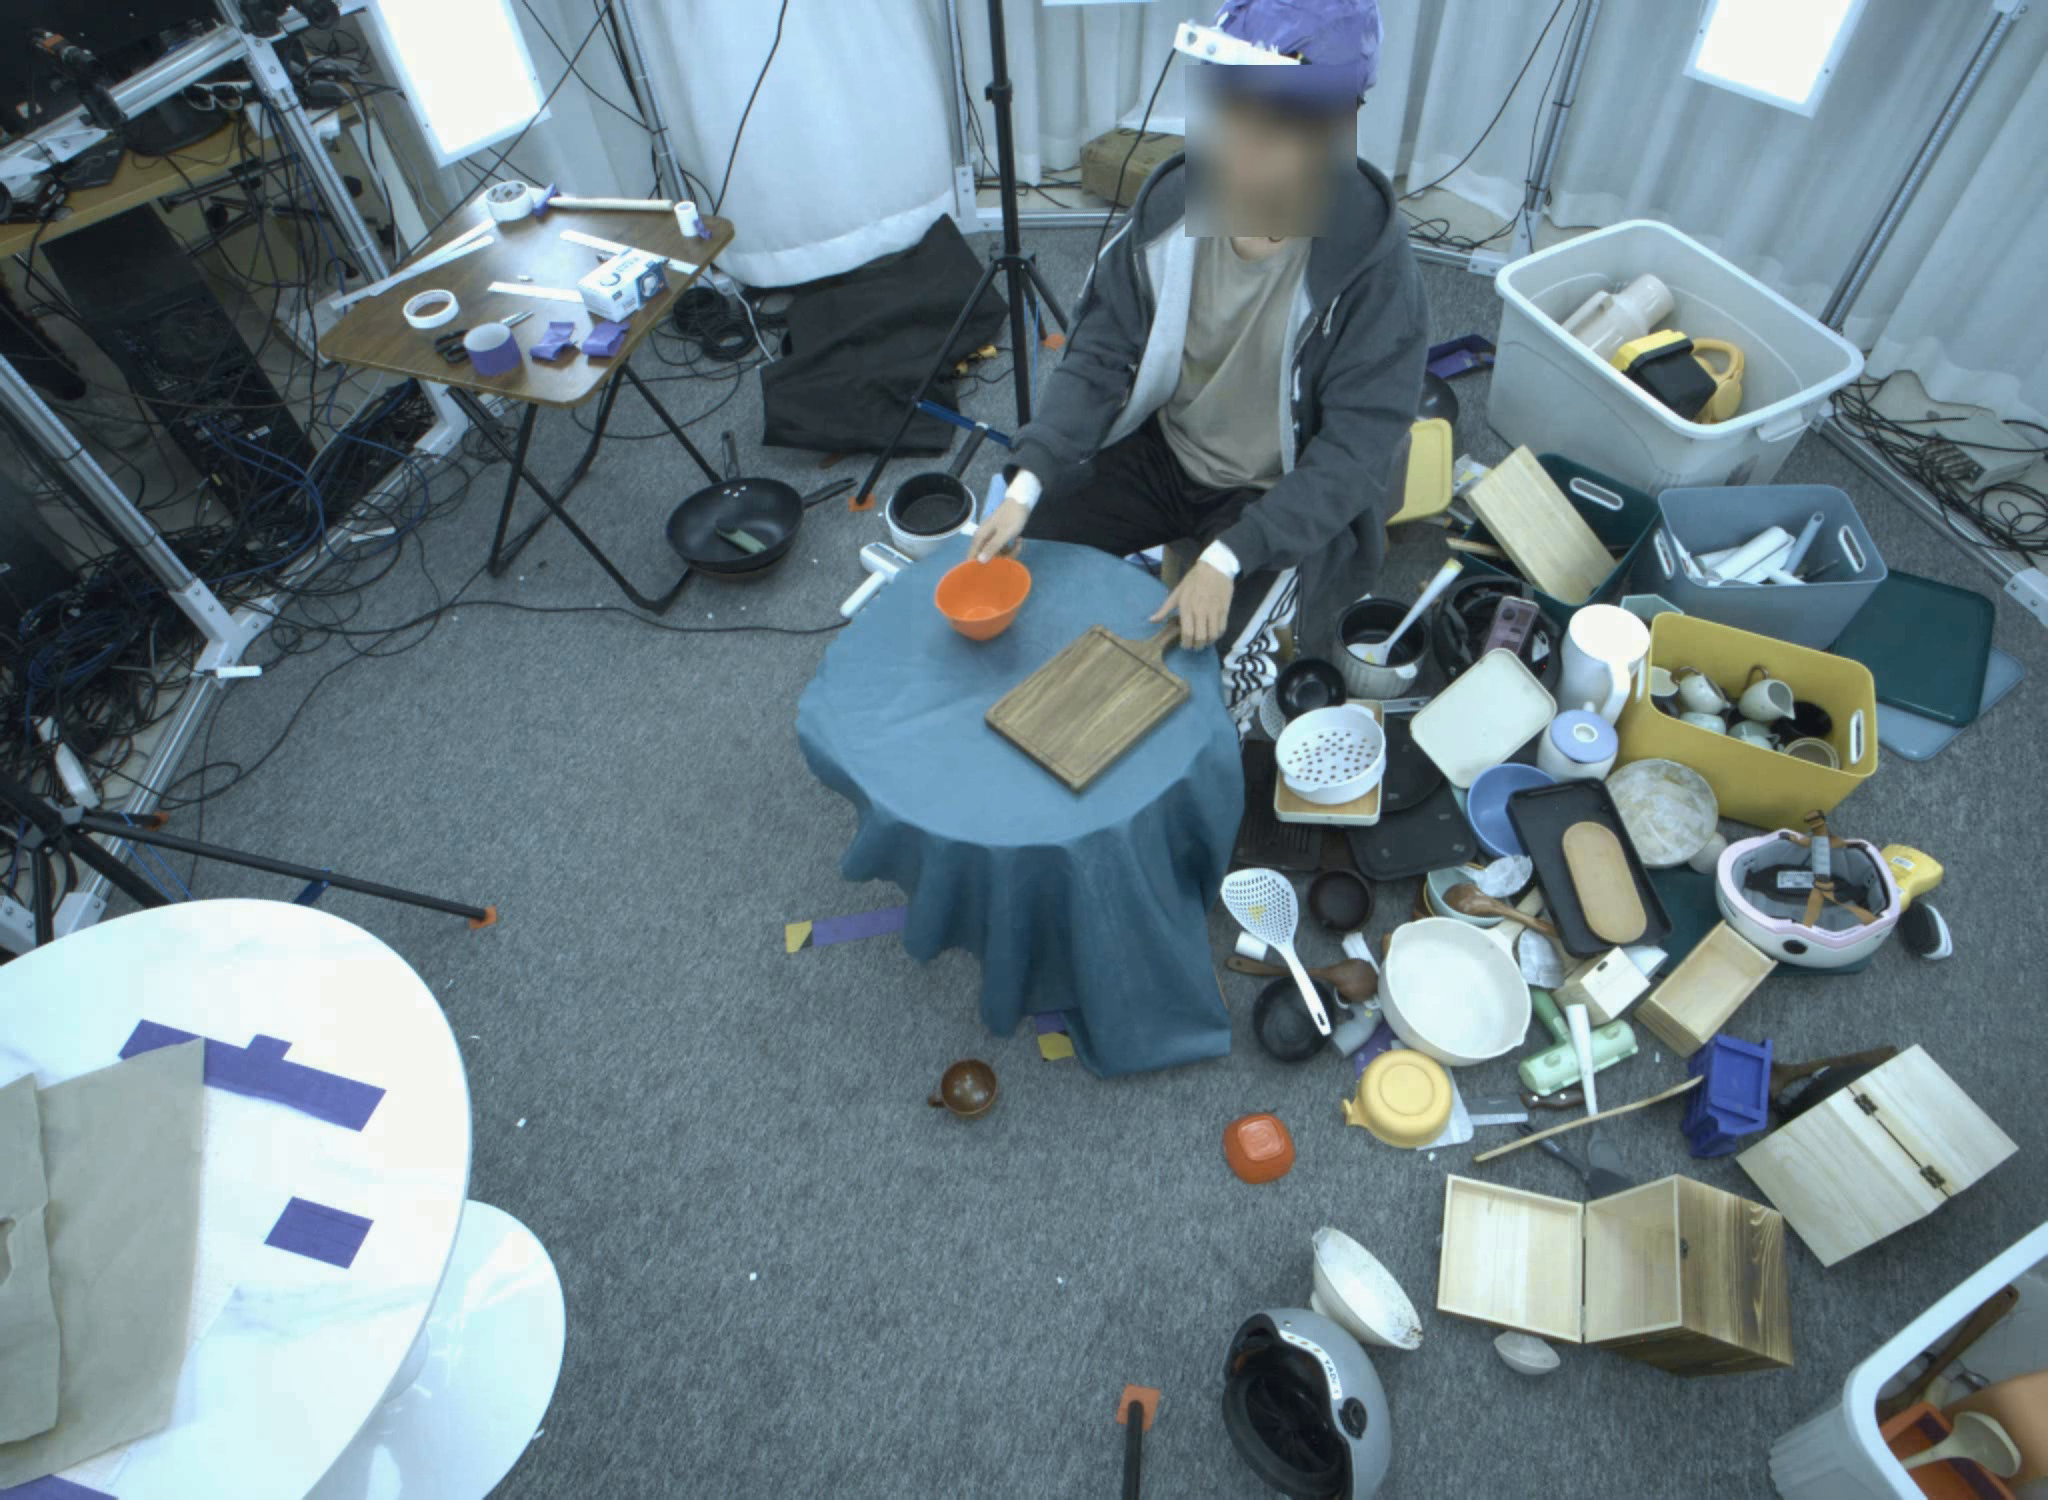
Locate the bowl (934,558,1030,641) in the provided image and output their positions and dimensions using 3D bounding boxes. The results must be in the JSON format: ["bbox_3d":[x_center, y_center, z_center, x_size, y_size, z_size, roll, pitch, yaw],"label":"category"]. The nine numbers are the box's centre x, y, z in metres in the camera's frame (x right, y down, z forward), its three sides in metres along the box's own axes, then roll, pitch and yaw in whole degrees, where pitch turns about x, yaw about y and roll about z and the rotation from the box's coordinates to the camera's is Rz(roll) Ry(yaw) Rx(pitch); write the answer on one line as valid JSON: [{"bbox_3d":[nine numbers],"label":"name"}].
[{"bbox_3d":[-0.062,-0.220,1.887,0.148,0.106,0.146,-1,54,2],"label":"bowl"}]

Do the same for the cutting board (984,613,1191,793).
[{"bbox_3d":[0.130,-0.098,1.843,0.197,0.023,0.354,38,64,25],"label":"cutting board"}]
